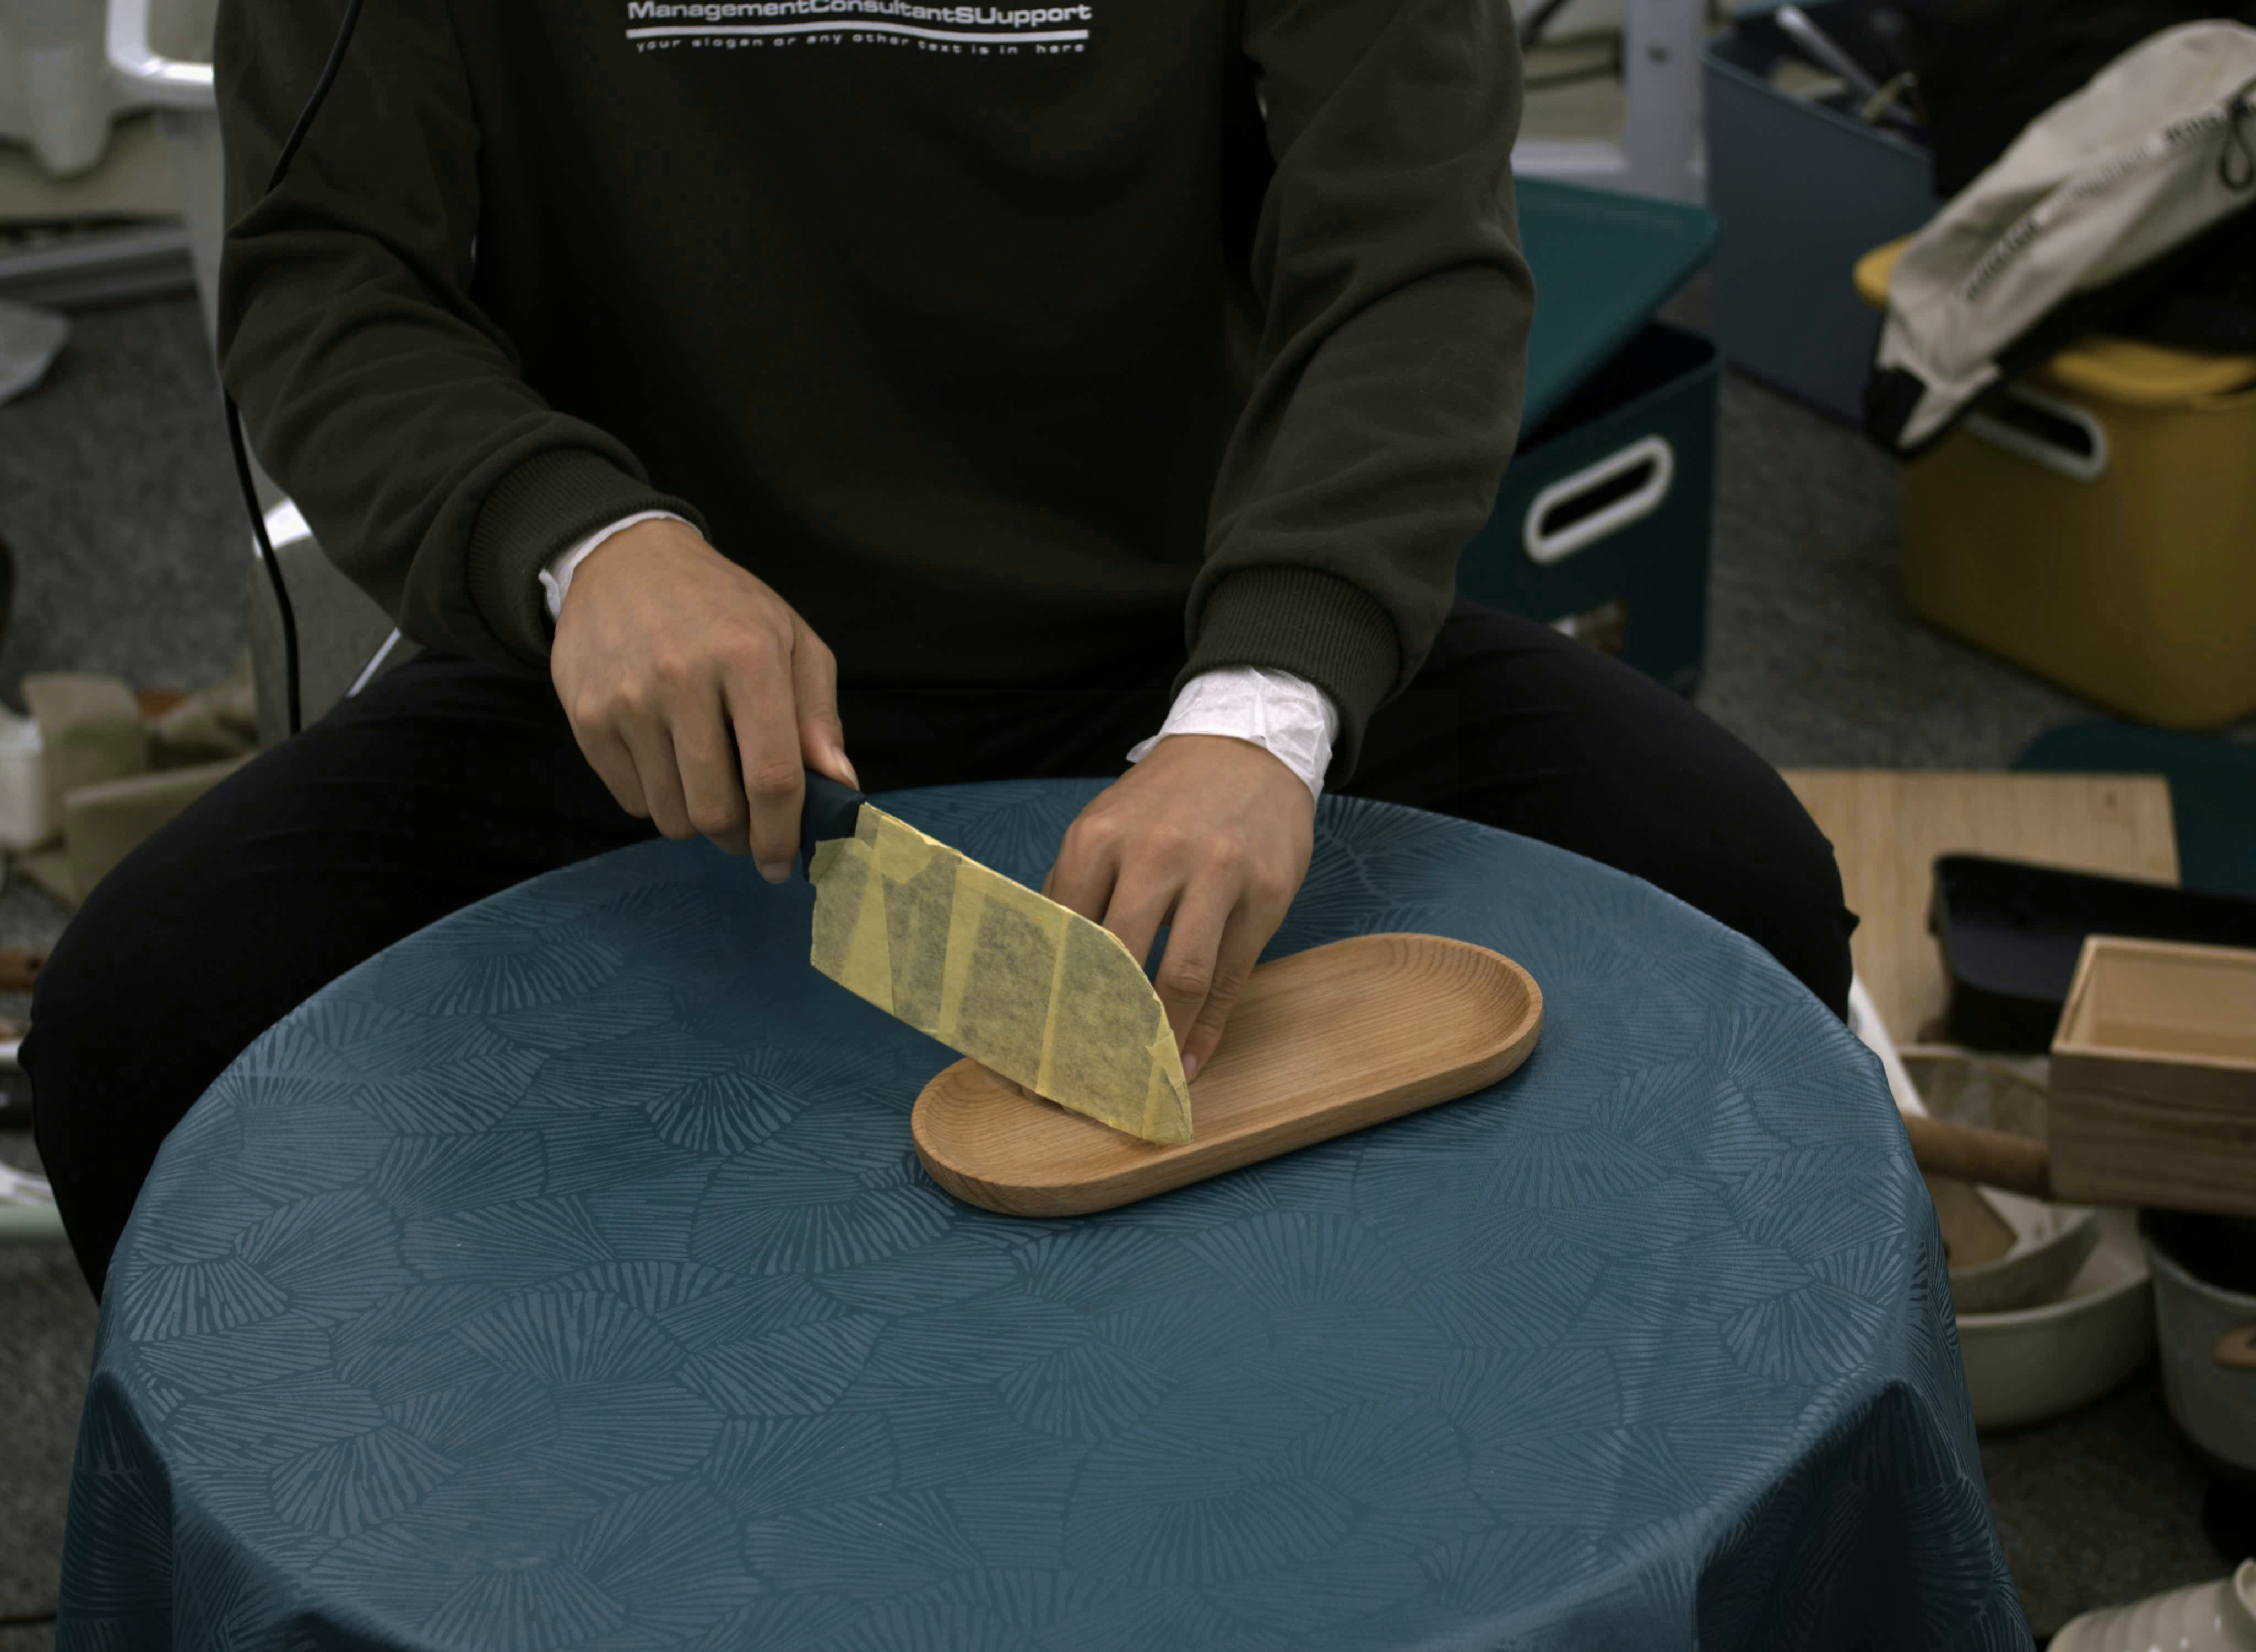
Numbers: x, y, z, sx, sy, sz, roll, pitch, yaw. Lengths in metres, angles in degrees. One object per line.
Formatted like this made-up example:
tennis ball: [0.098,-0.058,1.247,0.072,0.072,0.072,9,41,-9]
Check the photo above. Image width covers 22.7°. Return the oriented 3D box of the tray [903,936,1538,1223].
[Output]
tray: [0.033,0.086,1.910,0.232,0.020,0.102,-17,29,-23]

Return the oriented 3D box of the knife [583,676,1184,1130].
knife: [-0.086,0.025,1.929,0.290,0.080,0.027,31,30,32]
